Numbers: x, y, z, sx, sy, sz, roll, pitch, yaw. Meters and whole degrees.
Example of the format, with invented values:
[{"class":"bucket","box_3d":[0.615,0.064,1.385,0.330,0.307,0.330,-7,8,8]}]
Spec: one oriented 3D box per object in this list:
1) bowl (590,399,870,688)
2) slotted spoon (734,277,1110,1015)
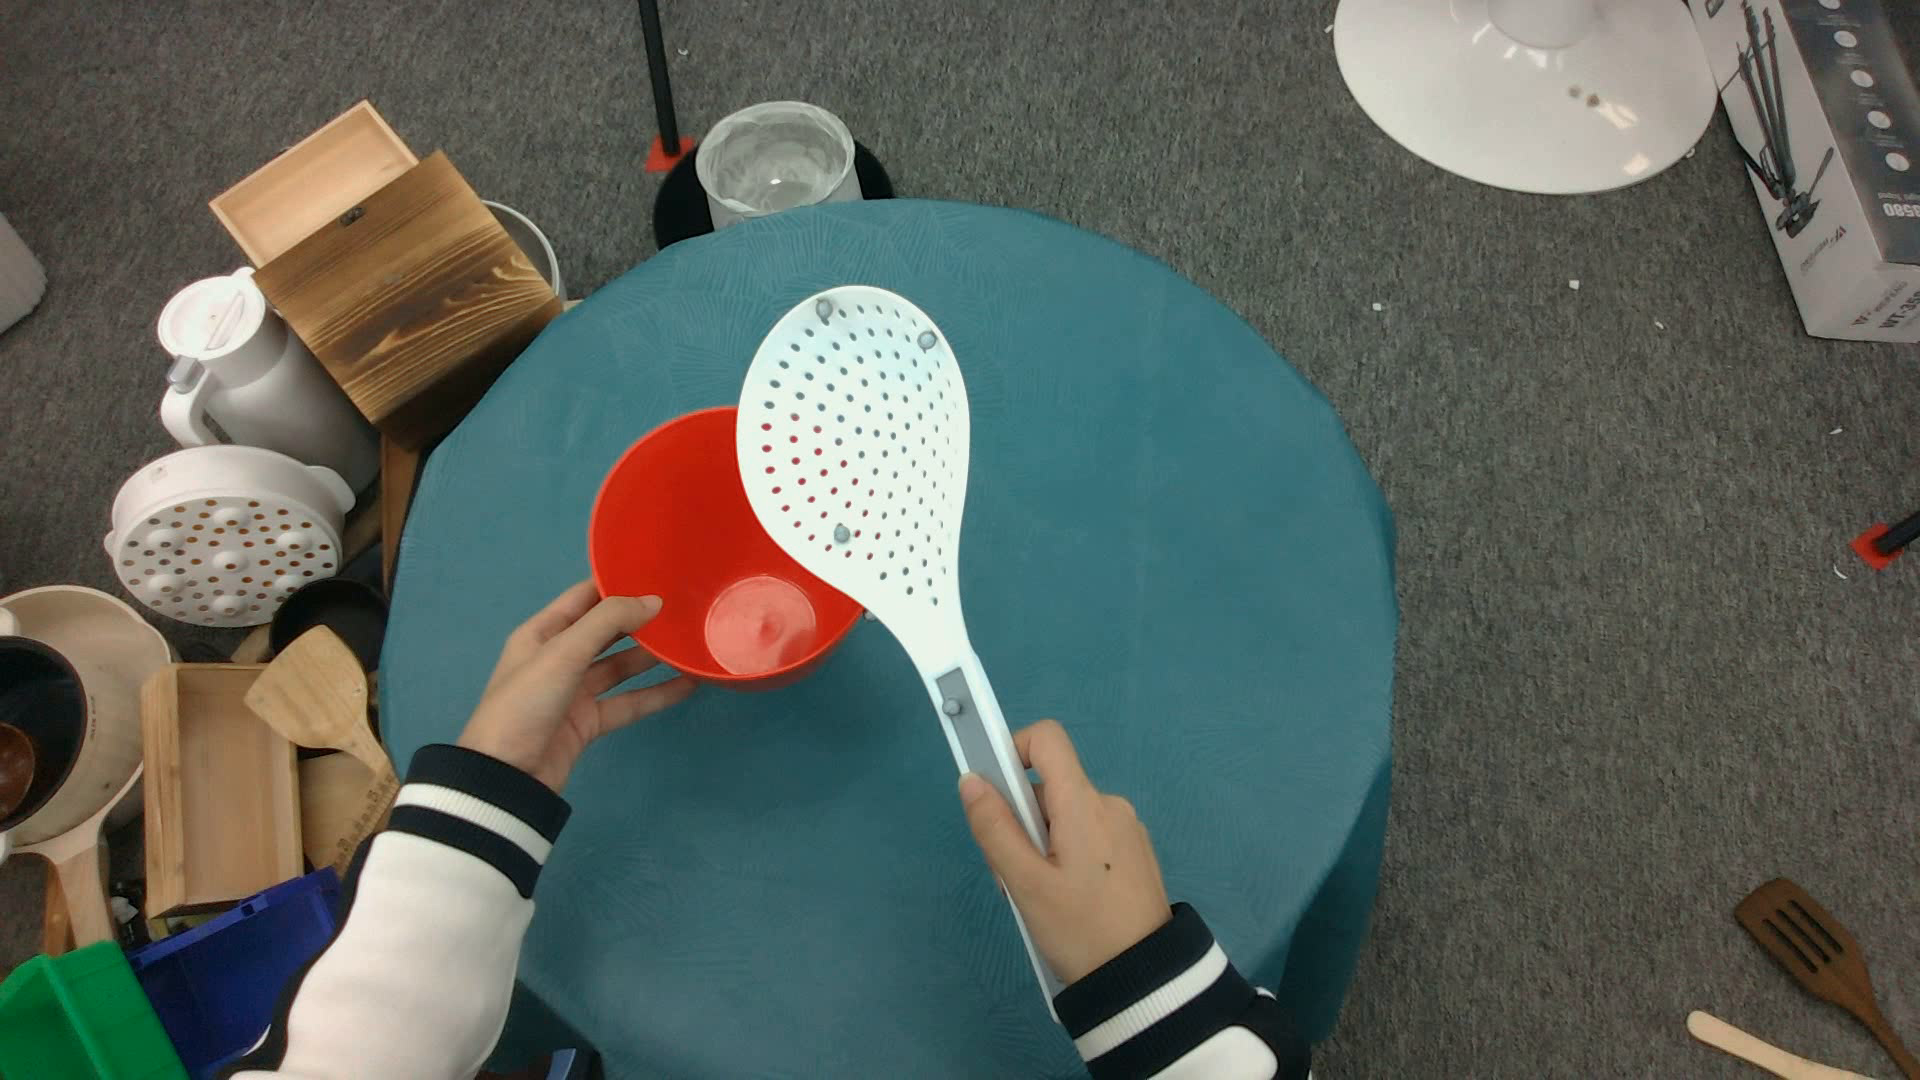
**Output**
[{"class":"bowl","box_3d":[-0.116,0.014,0.734,0.148,0.104,0.148,3,59,-5]},{"class":"slotted spoon","box_3d":[-0.010,0.042,0.627,0.135,0.046,0.350,-30,70,29]}]
